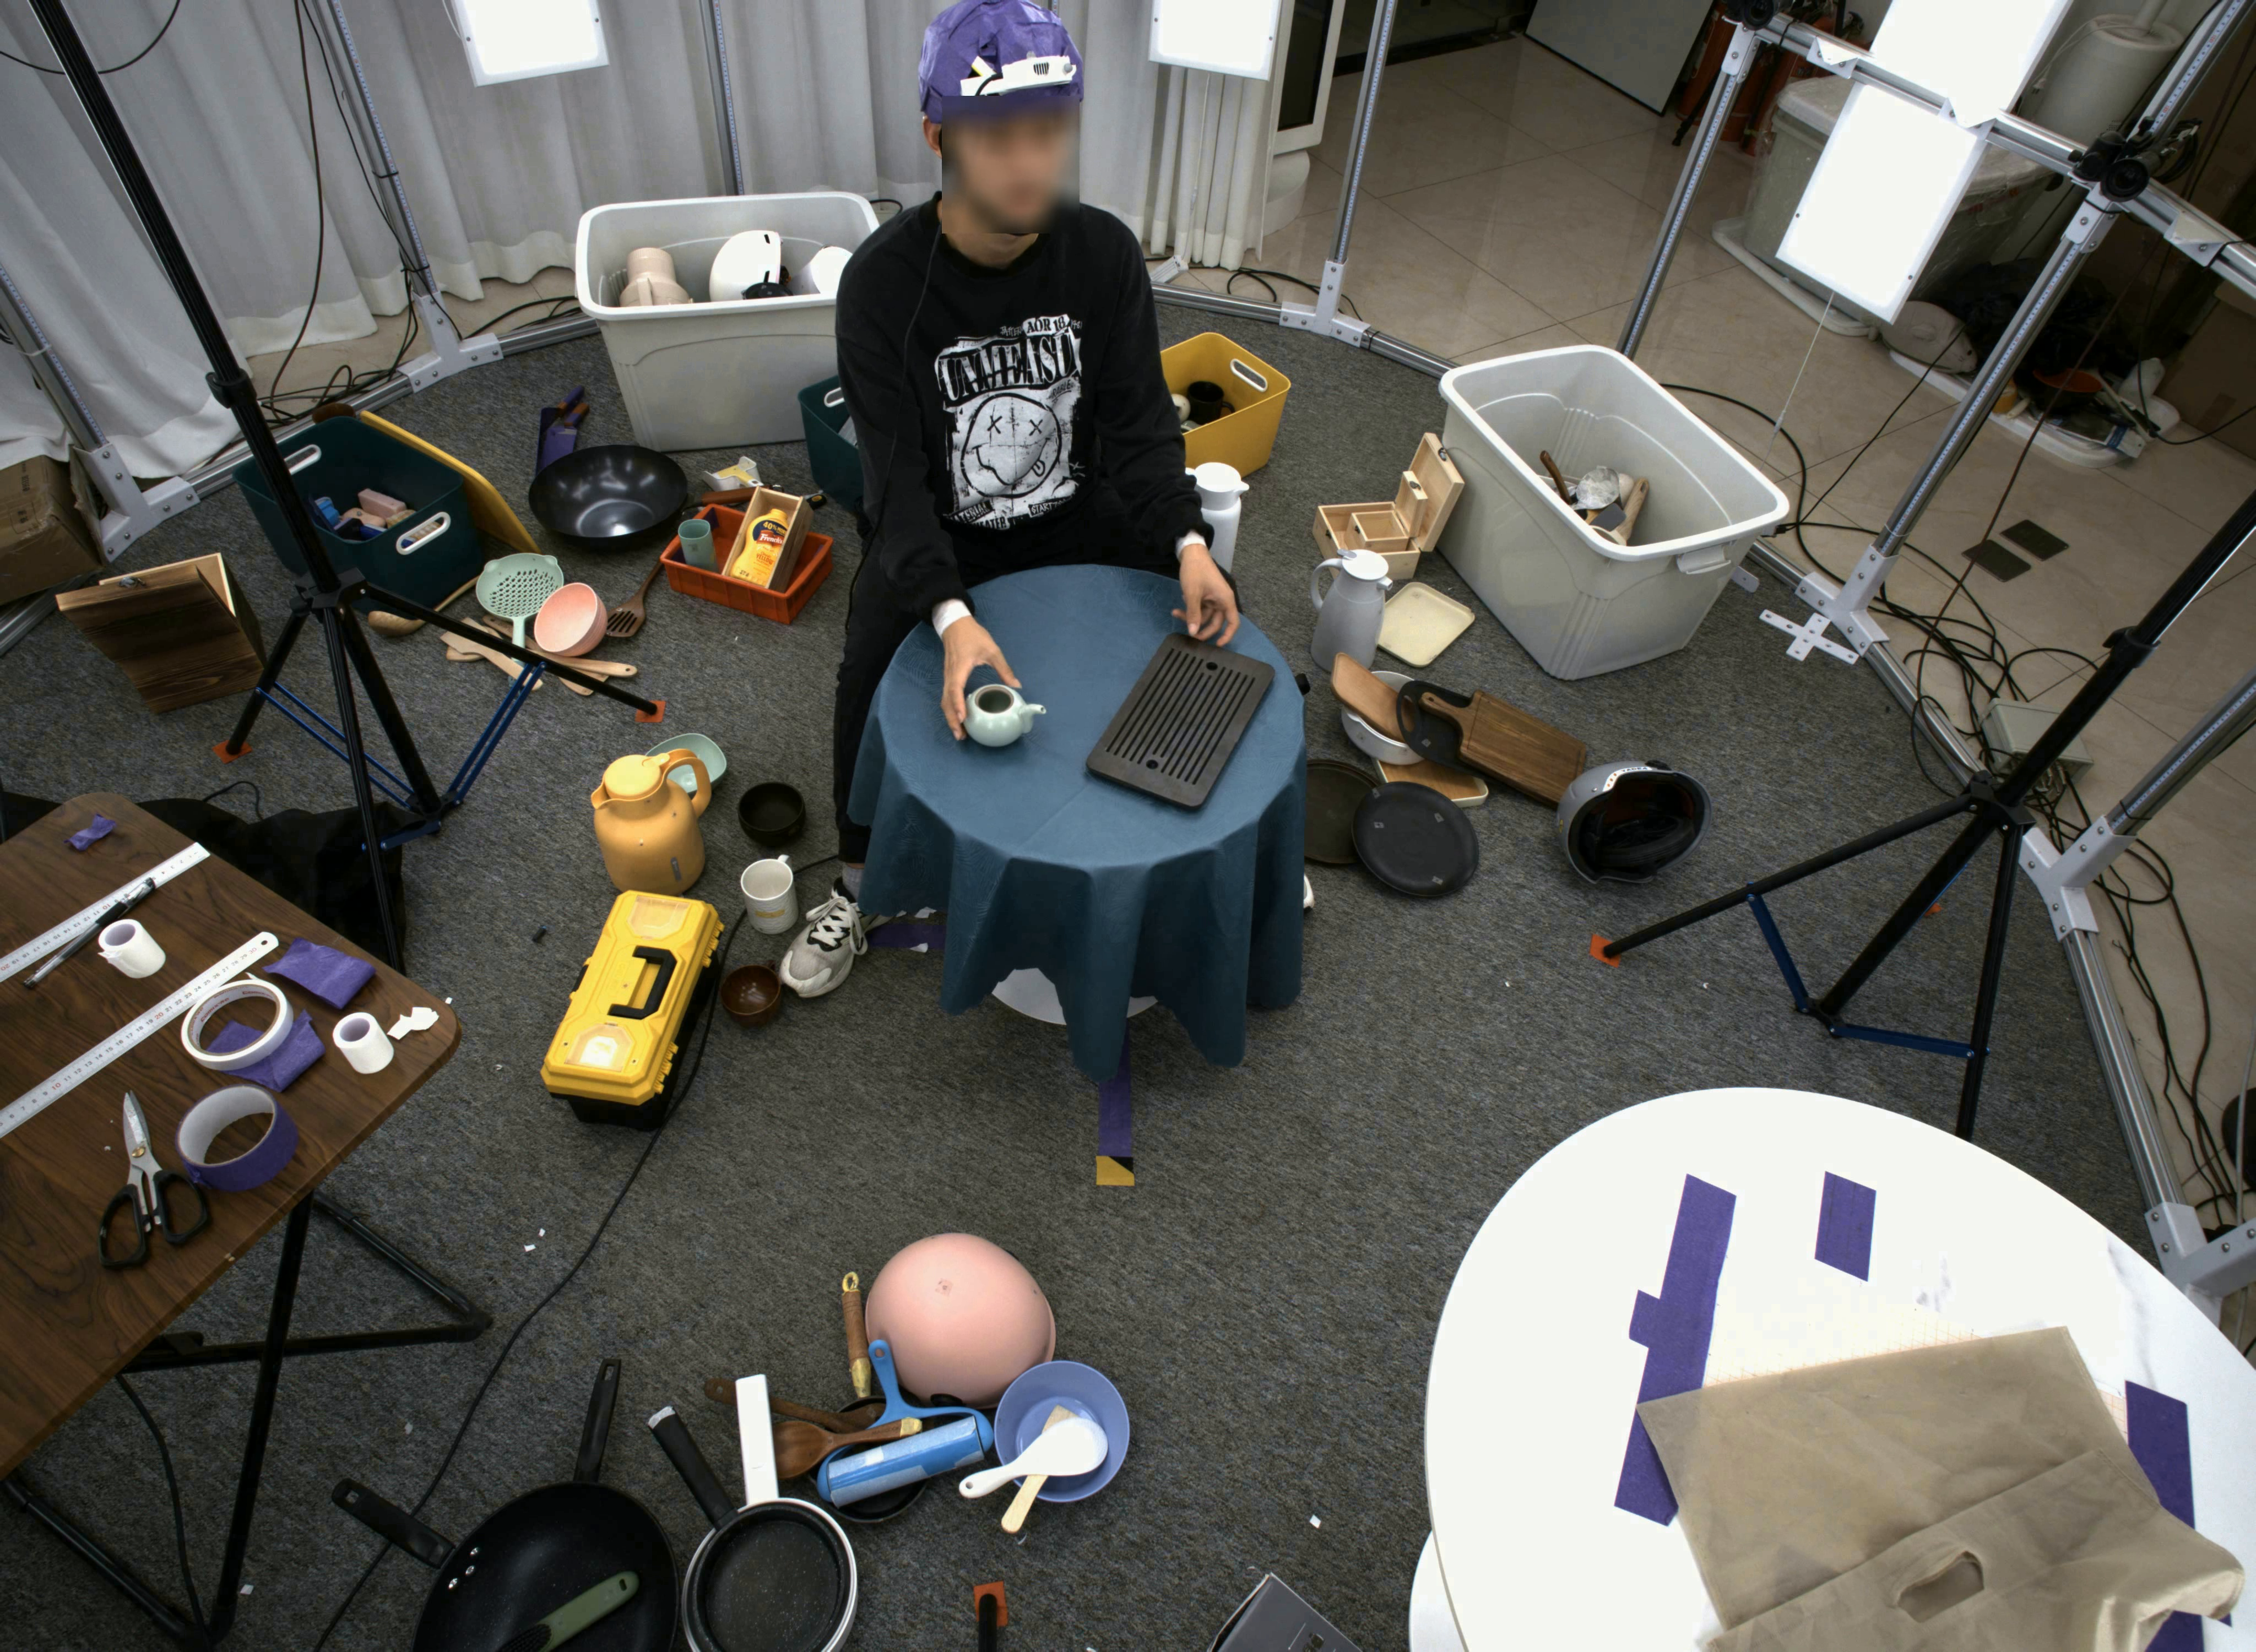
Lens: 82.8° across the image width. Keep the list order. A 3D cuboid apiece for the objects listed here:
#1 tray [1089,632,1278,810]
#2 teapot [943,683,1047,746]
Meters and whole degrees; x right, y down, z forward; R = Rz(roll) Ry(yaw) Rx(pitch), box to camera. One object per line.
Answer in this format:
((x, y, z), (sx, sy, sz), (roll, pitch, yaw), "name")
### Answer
((0.082, -0.151, 1.793), (0.171, 0.018, 0.311), (21, 51, 14), "tray")
((-0.180, -0.151, 1.742), (0.144, 0.073, 0.090), (16, 50, 8), "teapot")
